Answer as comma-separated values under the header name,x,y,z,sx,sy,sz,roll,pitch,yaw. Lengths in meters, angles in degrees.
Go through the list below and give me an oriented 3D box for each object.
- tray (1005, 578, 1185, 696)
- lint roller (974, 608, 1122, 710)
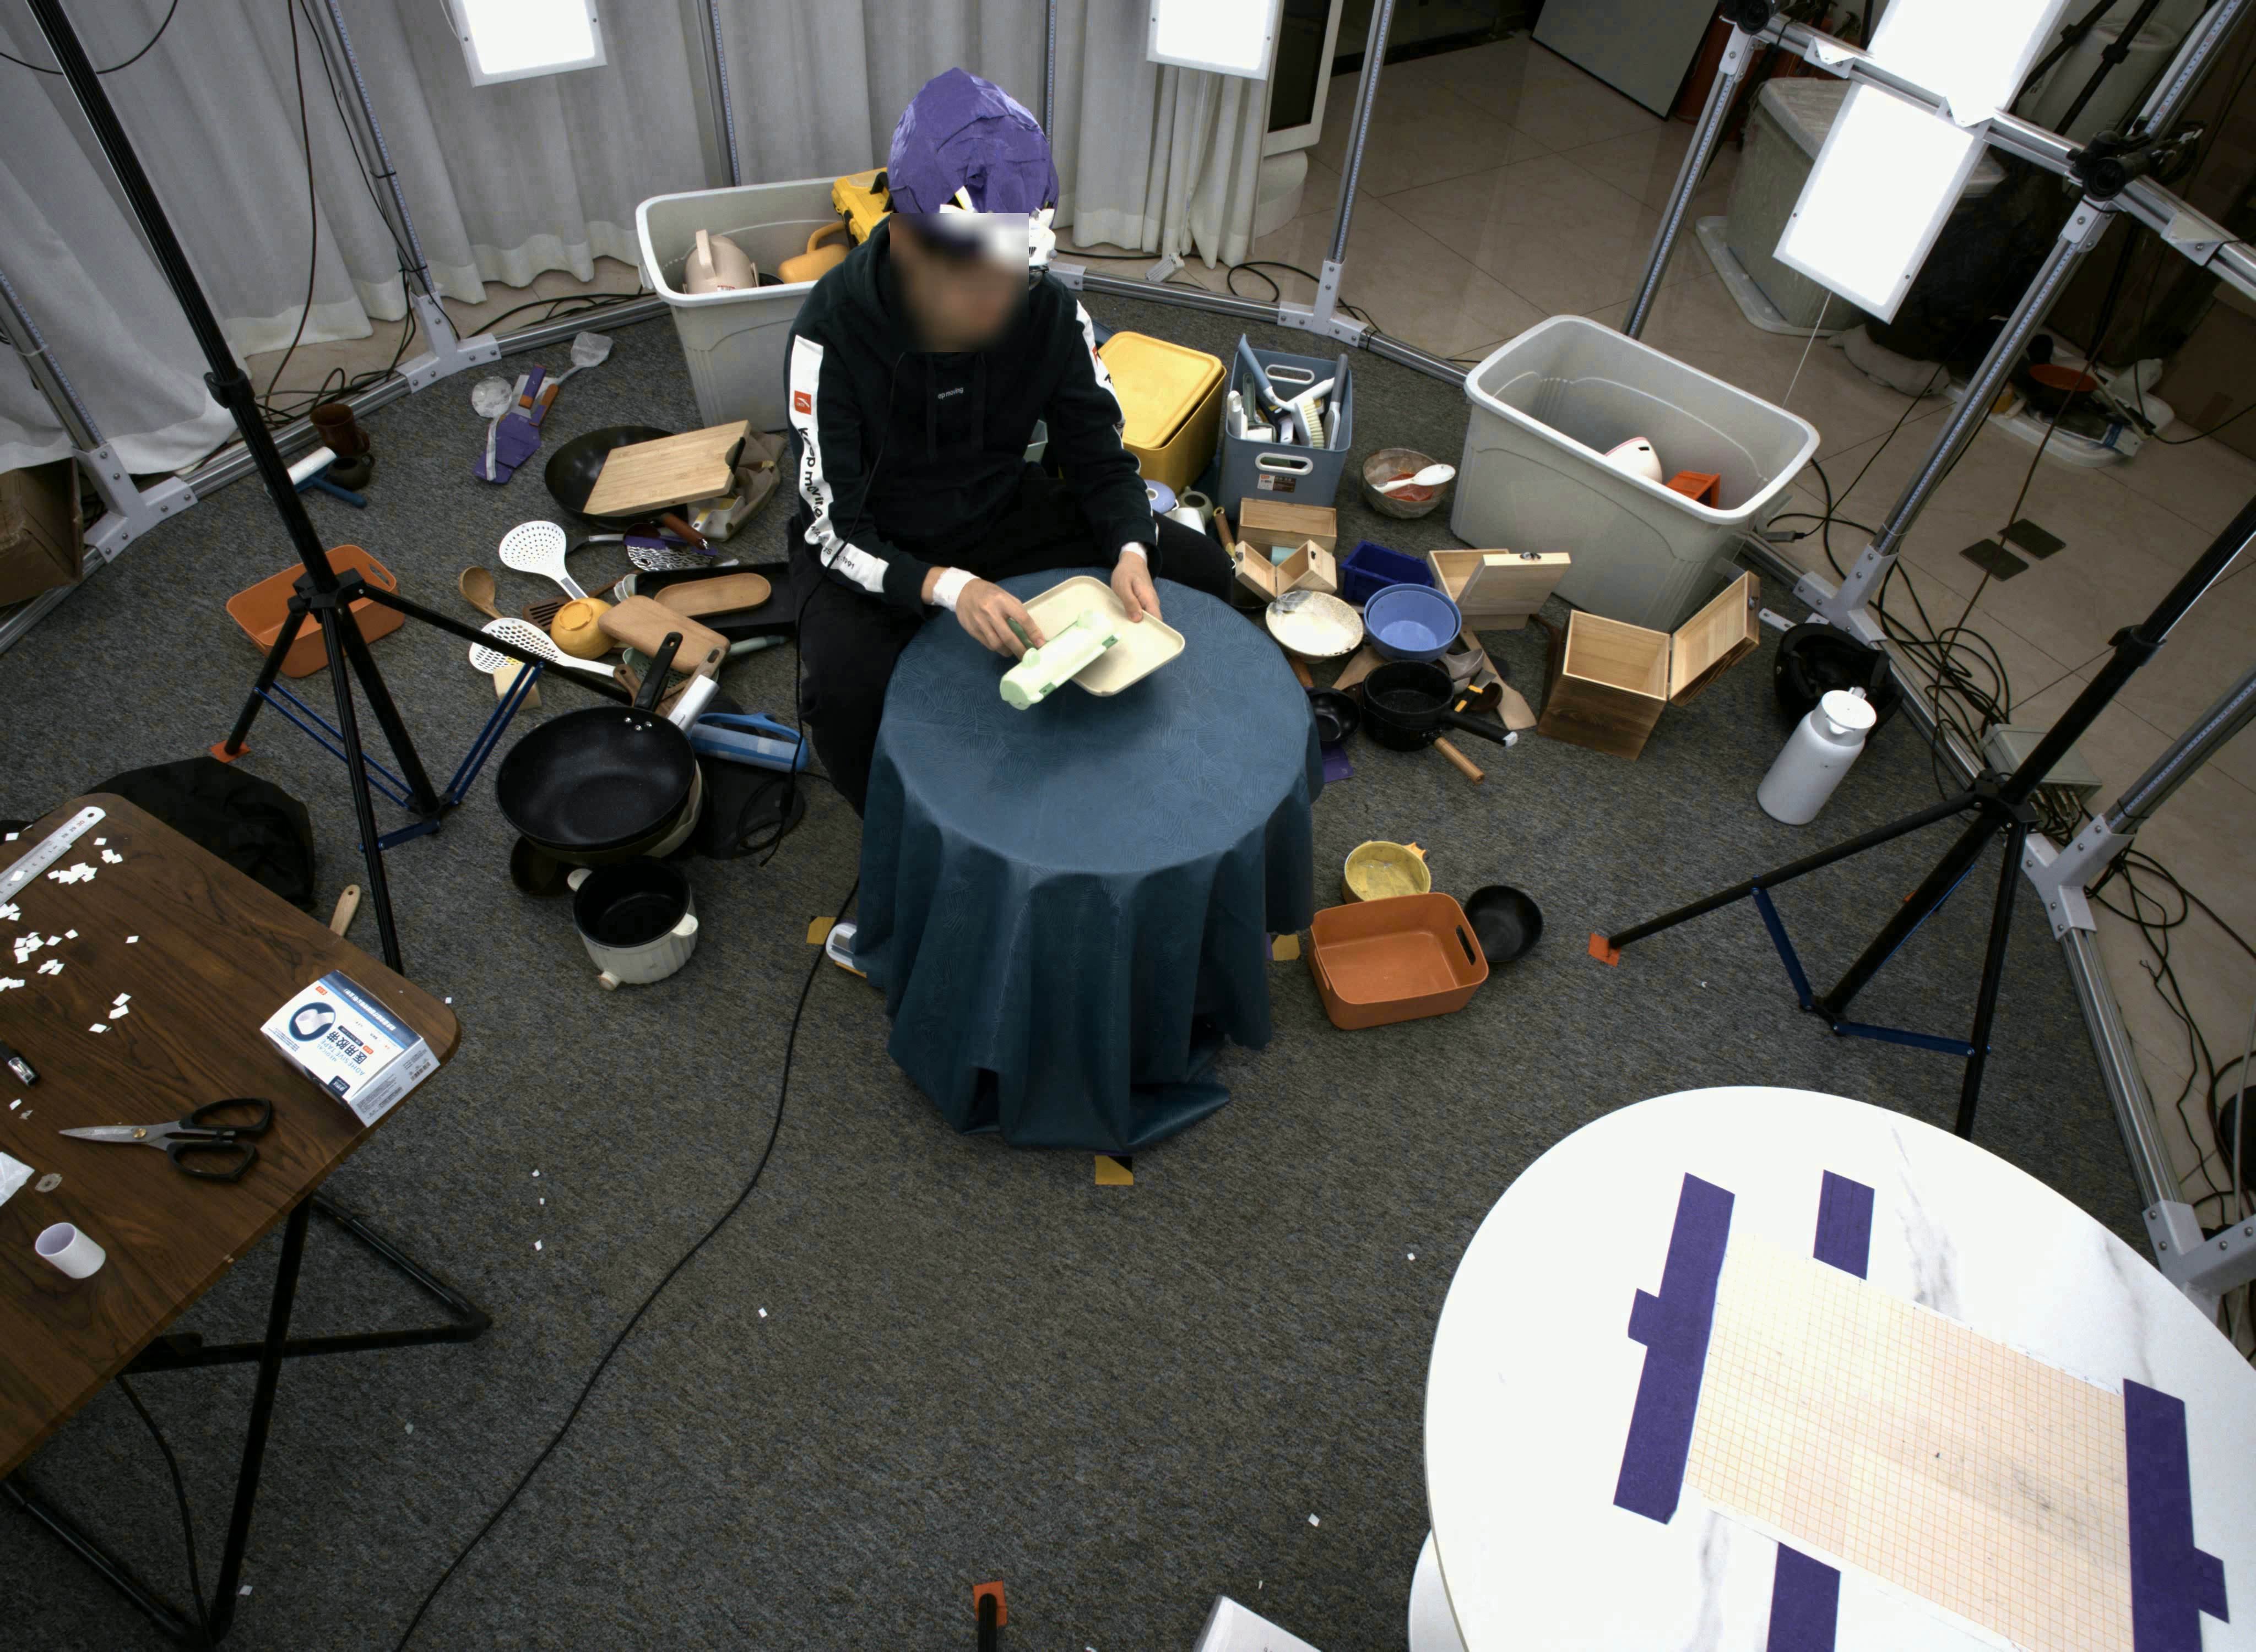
name,x,y,z,sx,sy,sz,roll,pitch,yaw
tray,-0.049,-0.269,1.820,0.172,0.017,0.244,-33,51,-26
lint roller,-0.134,-0.259,1.738,0.185,0.080,0.201,35,52,17
